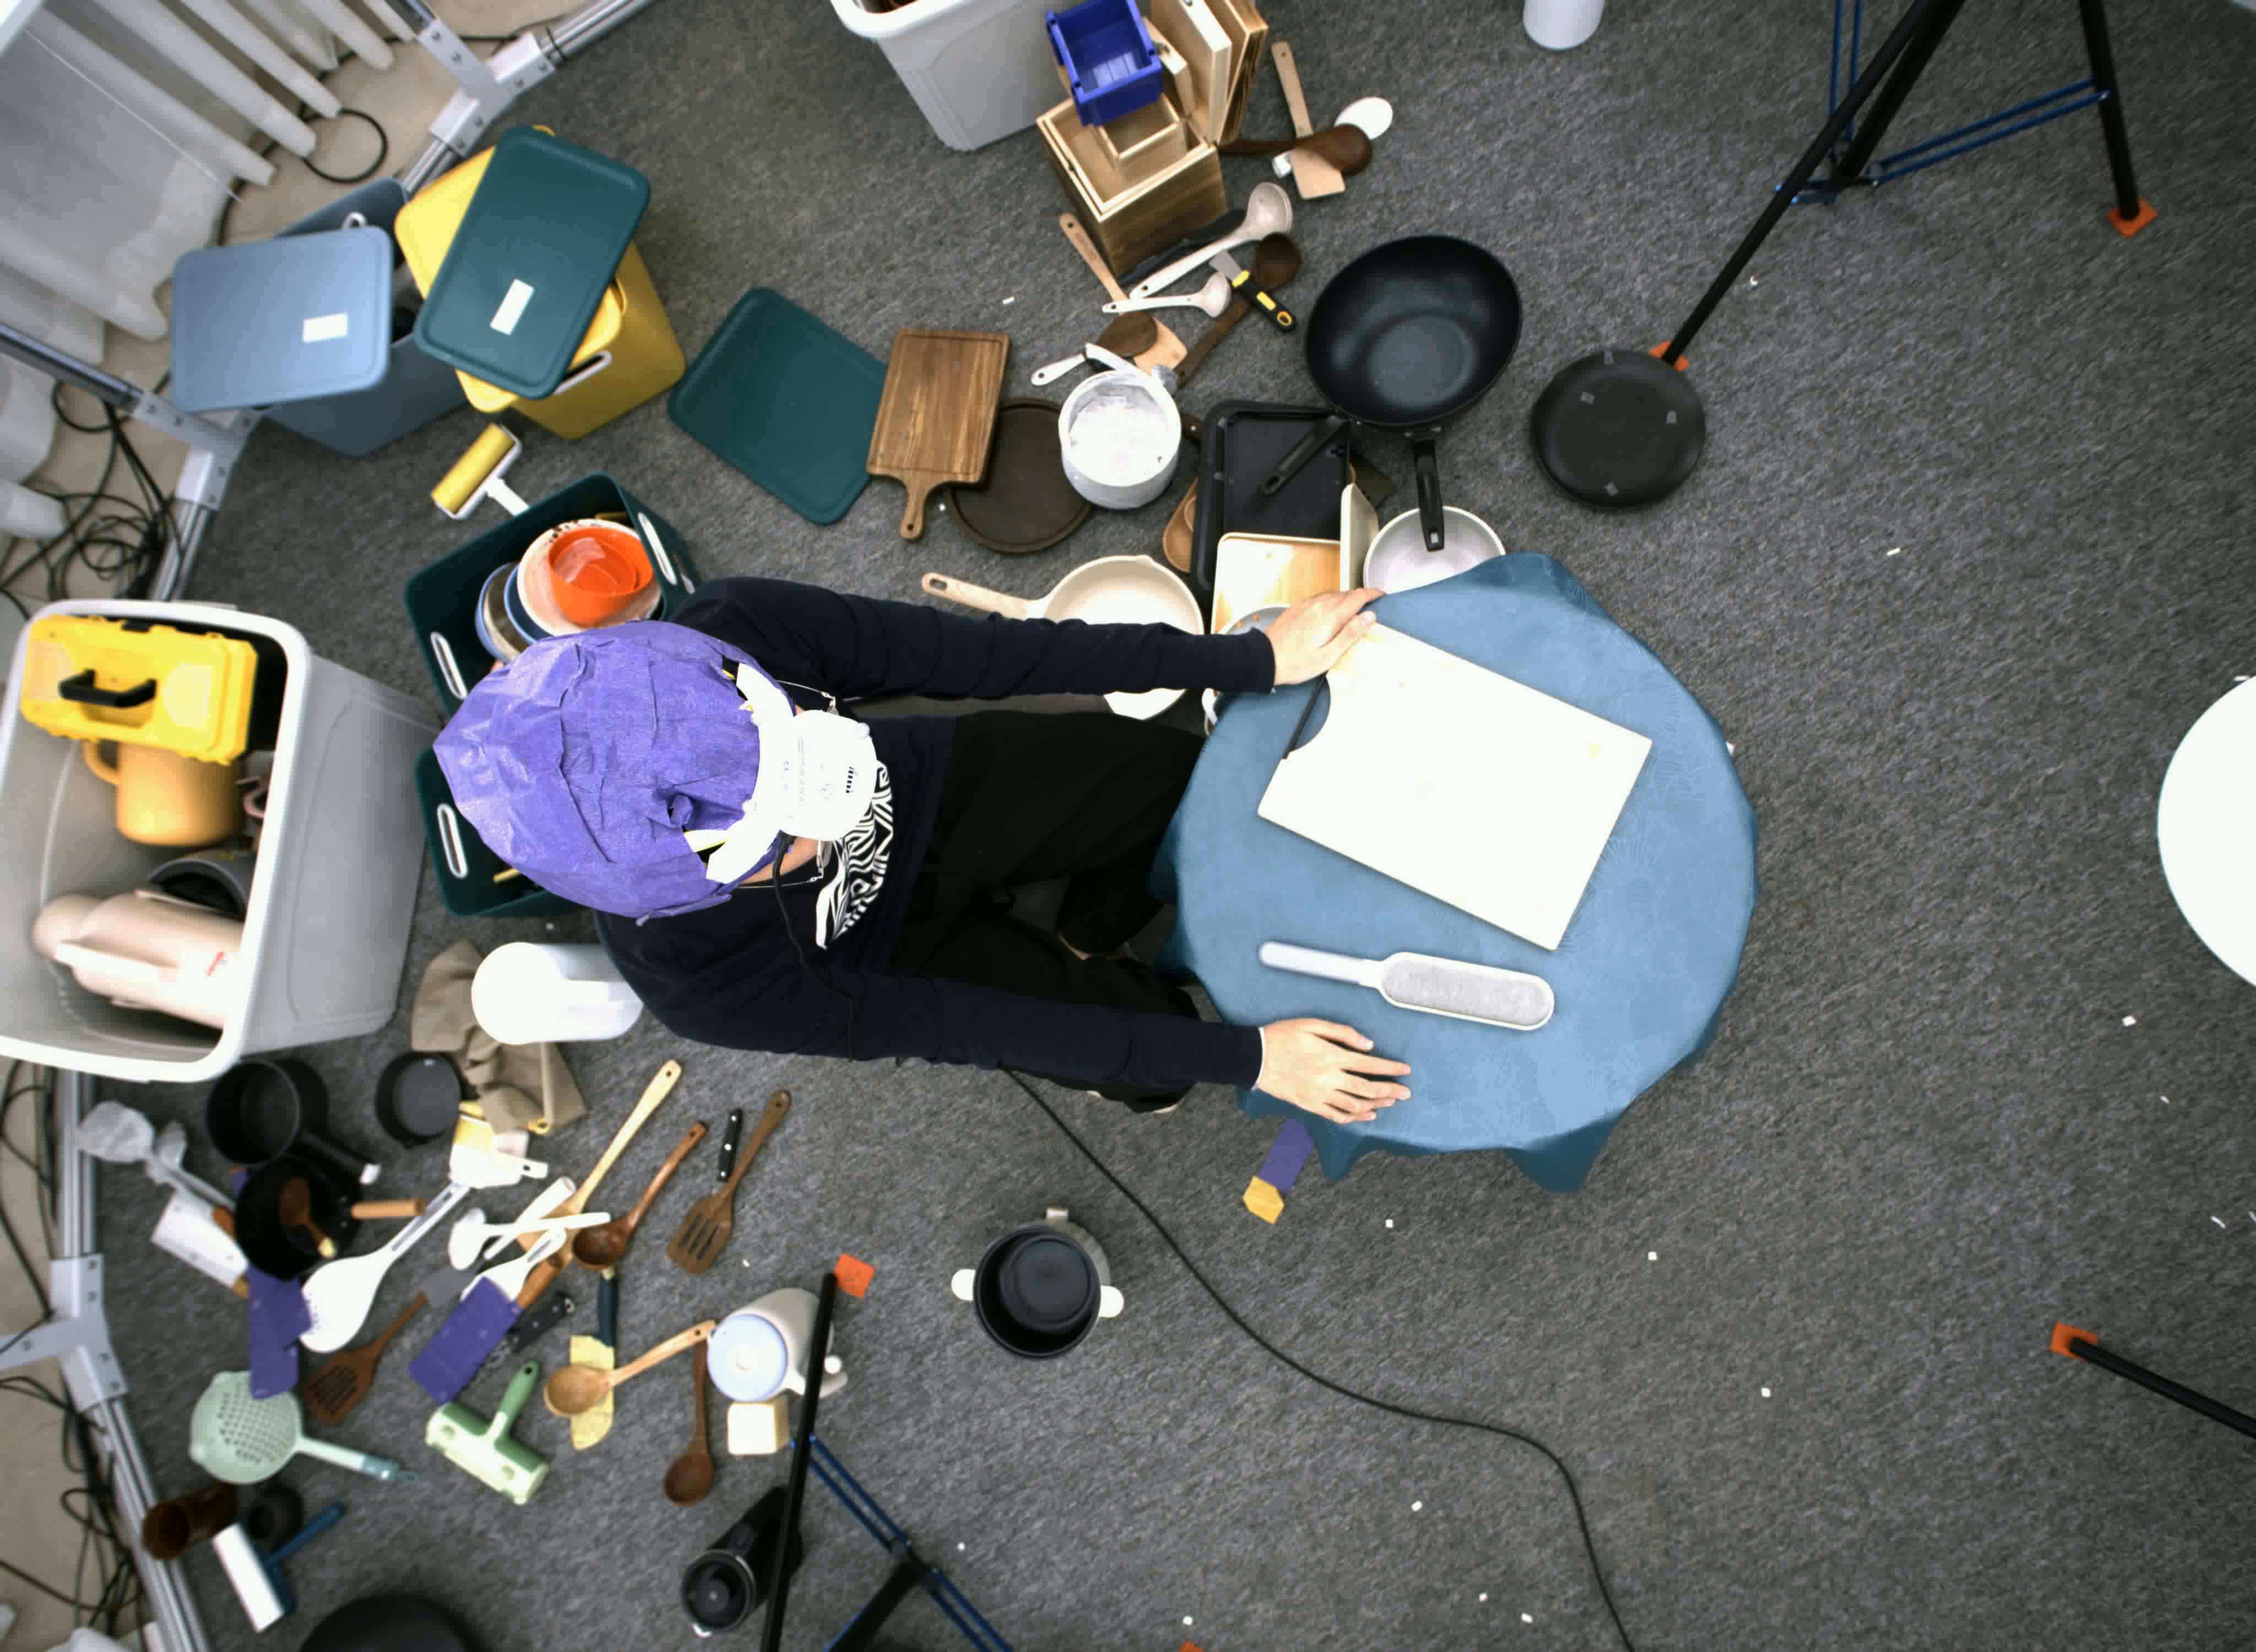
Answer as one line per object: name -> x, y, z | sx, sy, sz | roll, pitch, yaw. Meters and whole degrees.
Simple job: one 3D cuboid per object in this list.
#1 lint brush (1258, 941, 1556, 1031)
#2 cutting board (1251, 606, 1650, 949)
lint brush -> 0.288, 0.157, 1.438 | 0.309, 0.021, 0.060 | 10, 94, 11
cutting board -> 0.335, -0.055, 1.447 | 0.348, 0.023, 0.251 | 25, 91, 11
